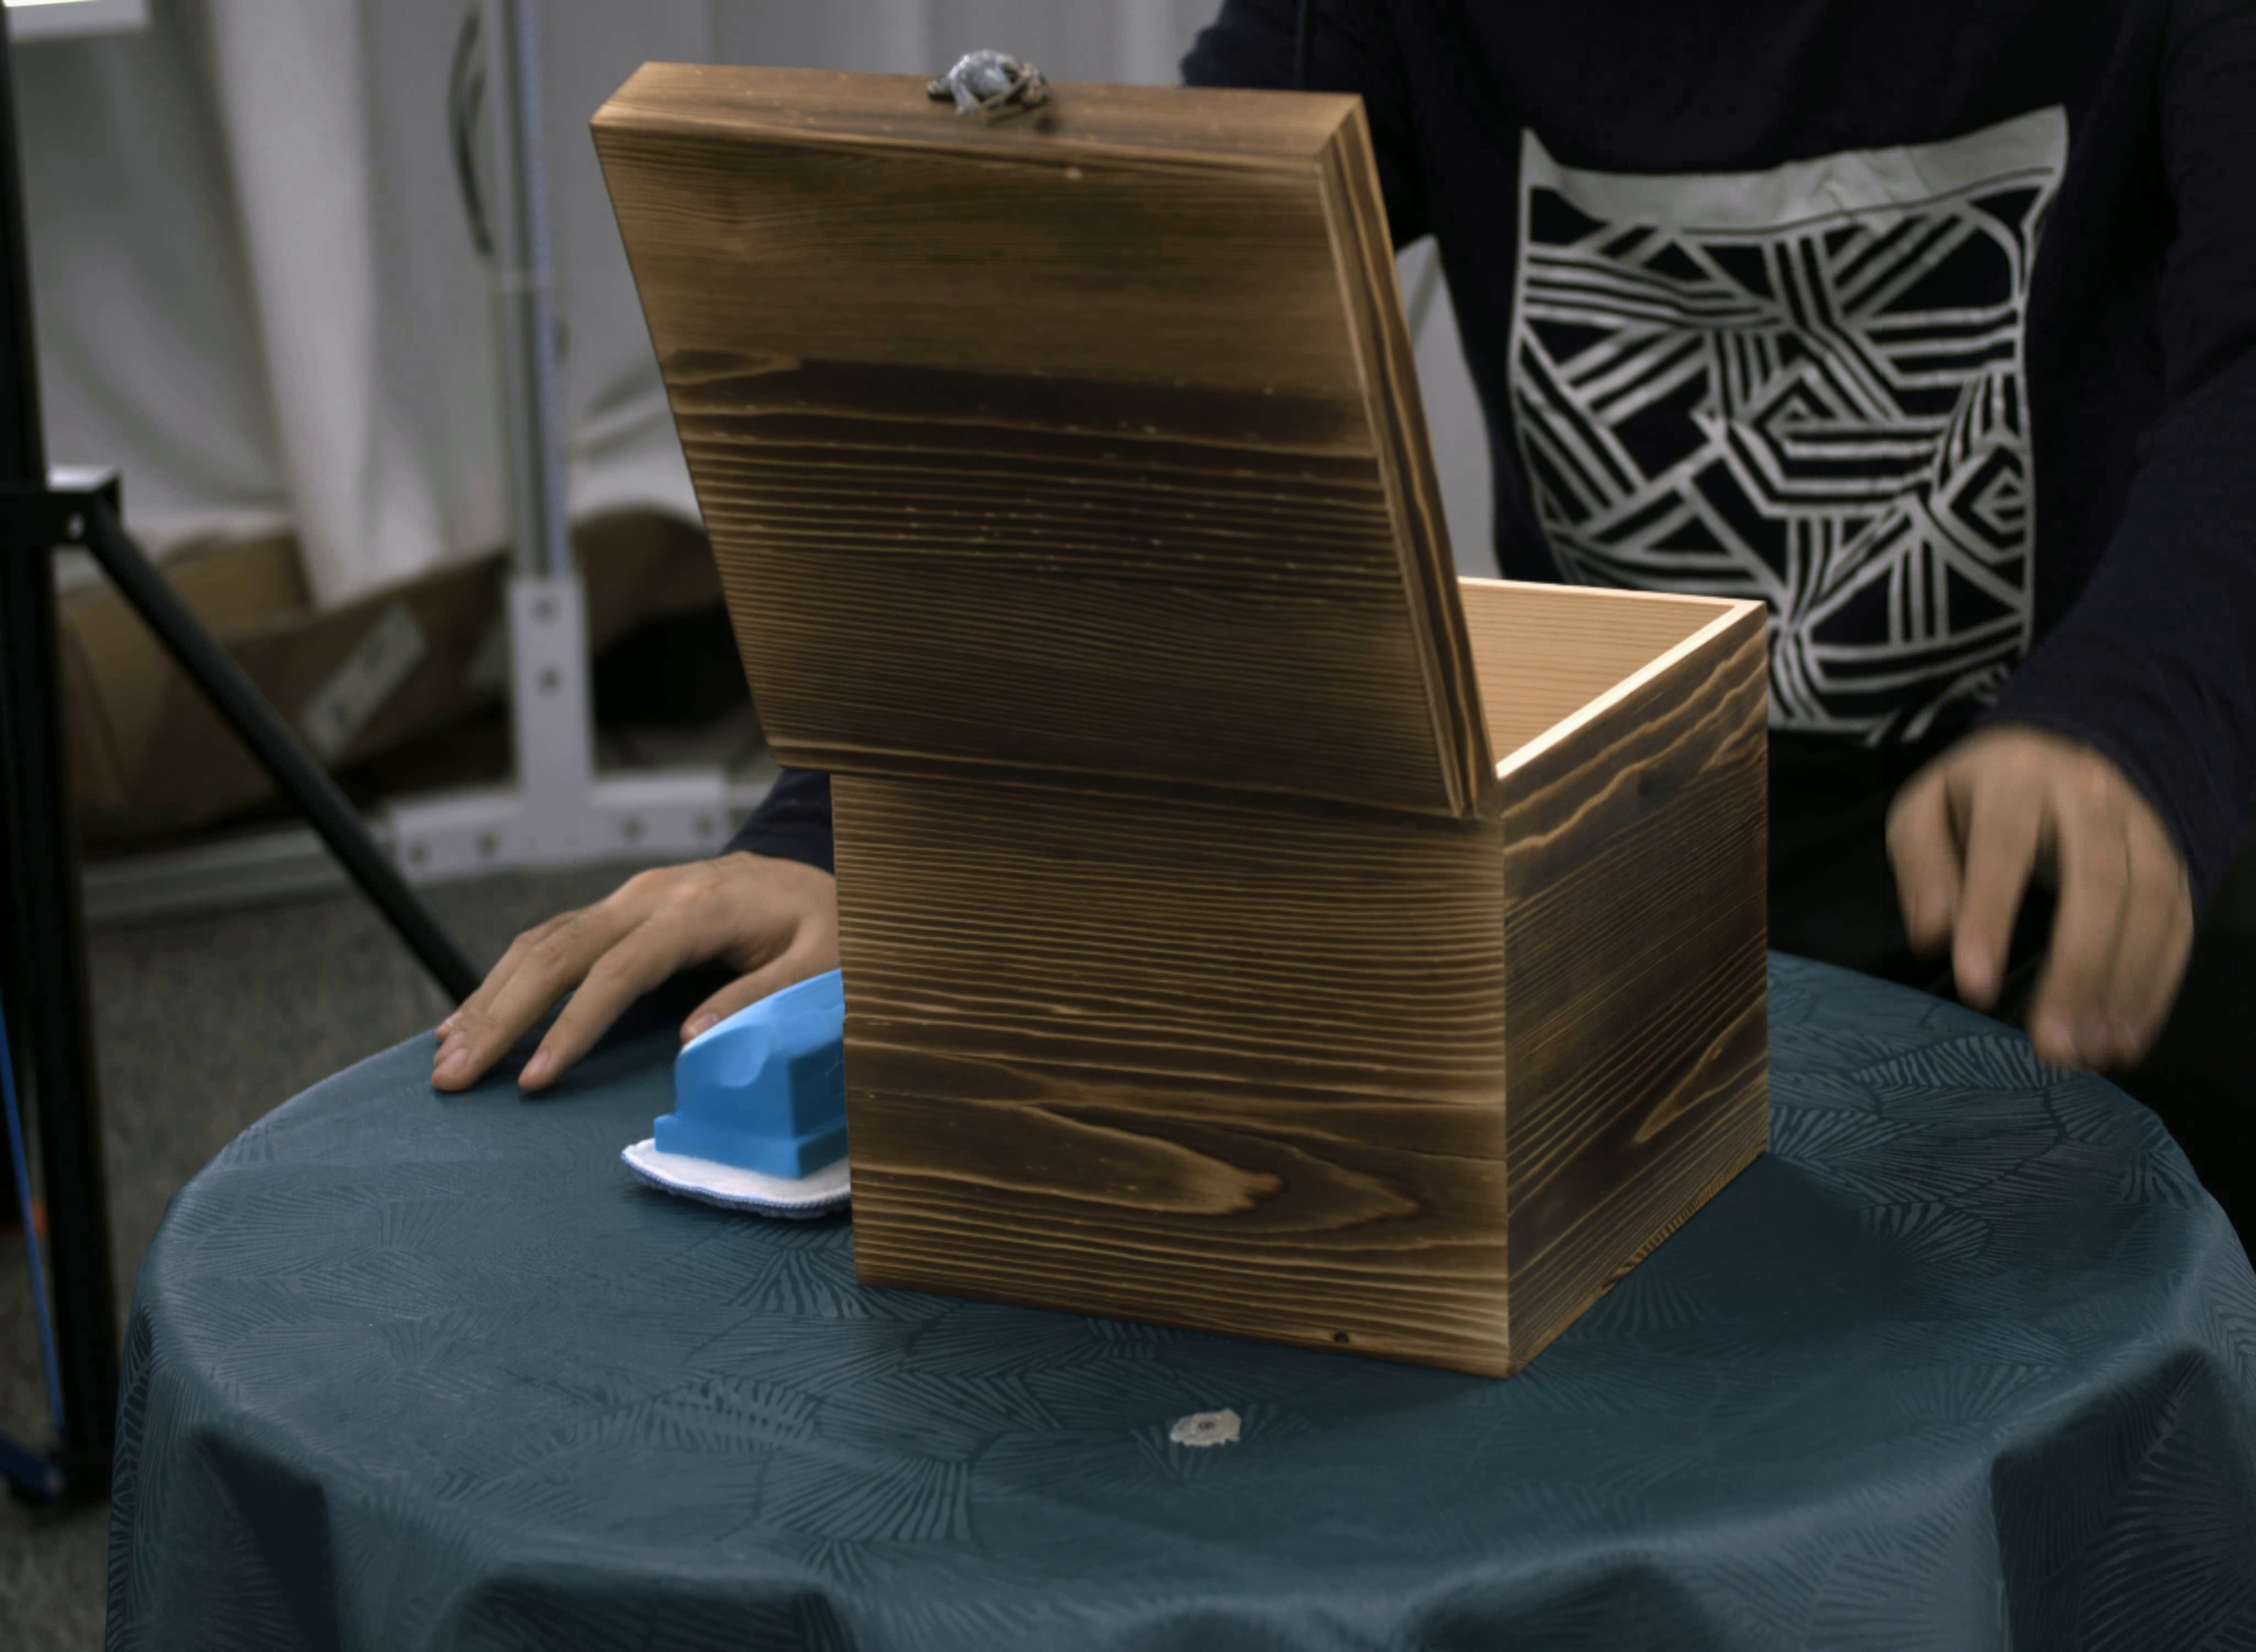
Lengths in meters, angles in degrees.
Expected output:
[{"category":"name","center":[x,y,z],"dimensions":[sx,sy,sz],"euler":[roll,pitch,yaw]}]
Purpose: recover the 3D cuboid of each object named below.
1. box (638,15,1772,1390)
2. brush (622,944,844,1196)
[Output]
[{"category":"box","center":[0.031,-0.047,1.444],"dimensions":[0.212,0.375,0.317],"euler":[6,17,26]},{"category":"brush","center":[-0.082,0.066,1.612],"dimensions":[0.085,0.056,0.141],"euler":[13,24,36]}]
